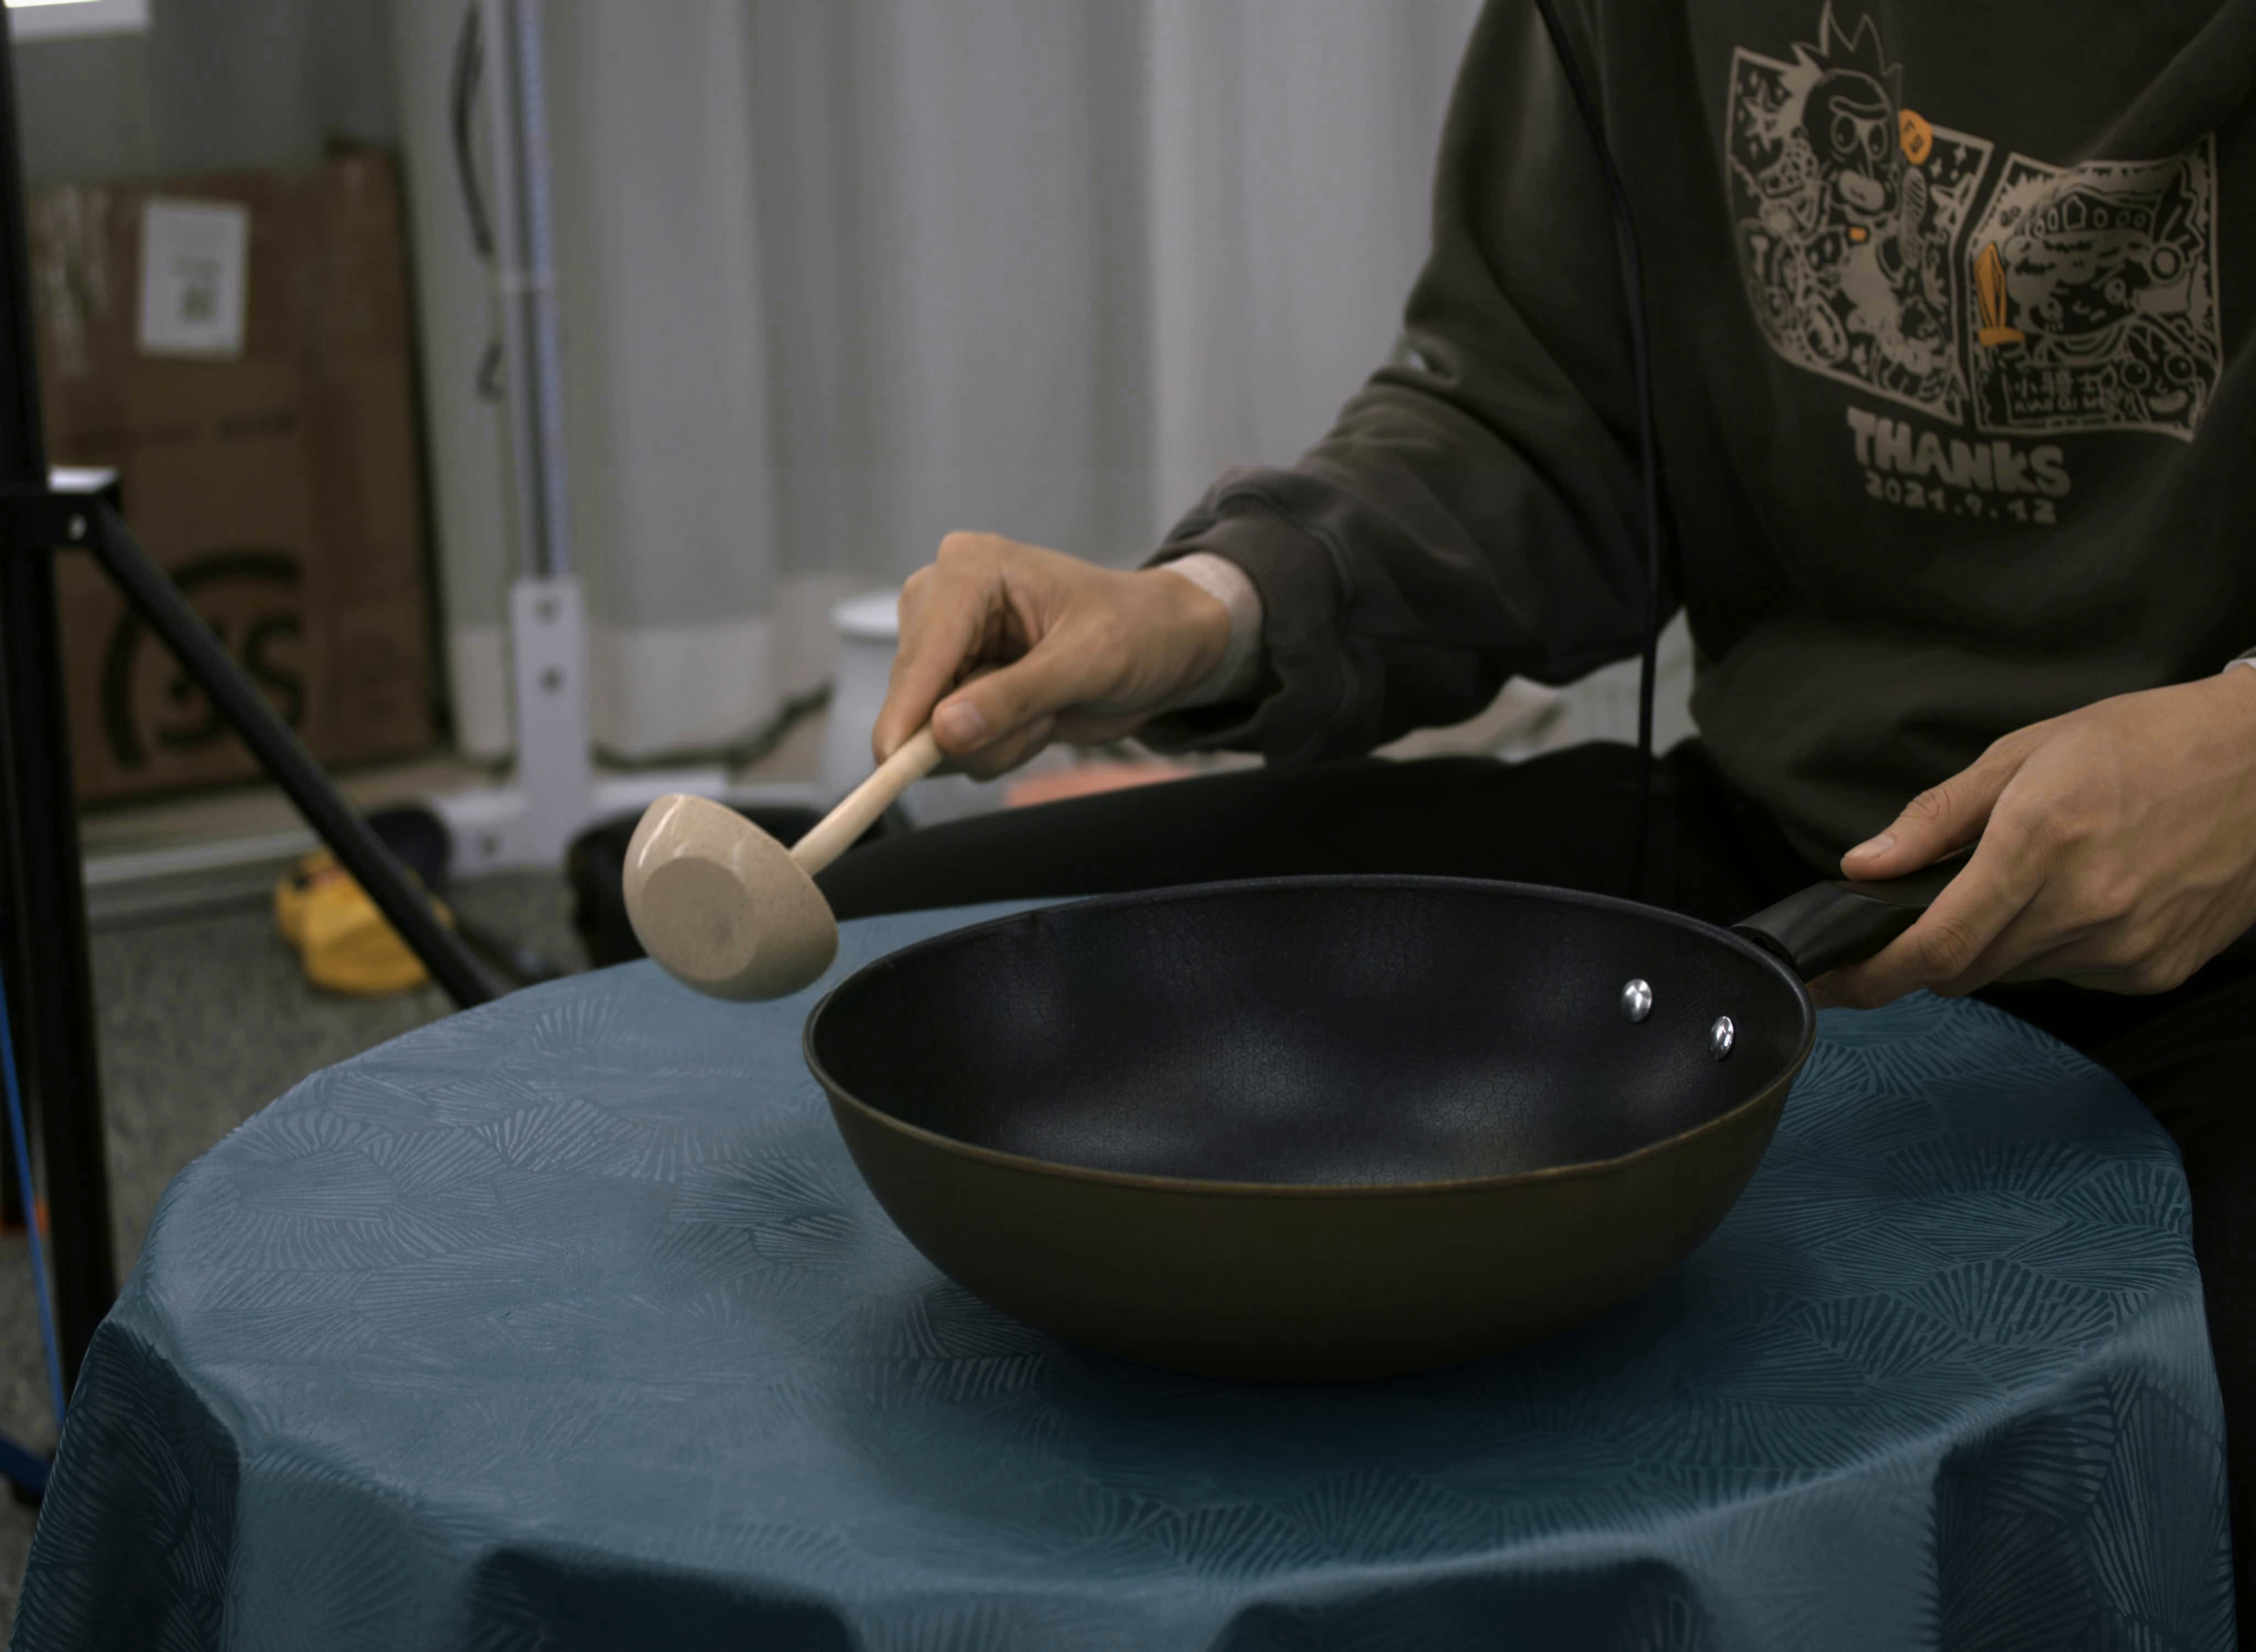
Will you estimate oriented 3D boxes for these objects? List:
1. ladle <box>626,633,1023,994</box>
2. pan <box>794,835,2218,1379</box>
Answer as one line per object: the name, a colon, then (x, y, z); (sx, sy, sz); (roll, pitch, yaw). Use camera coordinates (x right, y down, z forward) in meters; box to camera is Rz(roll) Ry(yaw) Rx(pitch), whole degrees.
ladle: (-0.076, -0.029, 1.666); (0.072, 0.073, 0.252); (32, 37, 6)
pan: (0.126, 0.074, 1.511); (0.453, 0.087, 0.294); (-10, 17, -28)
